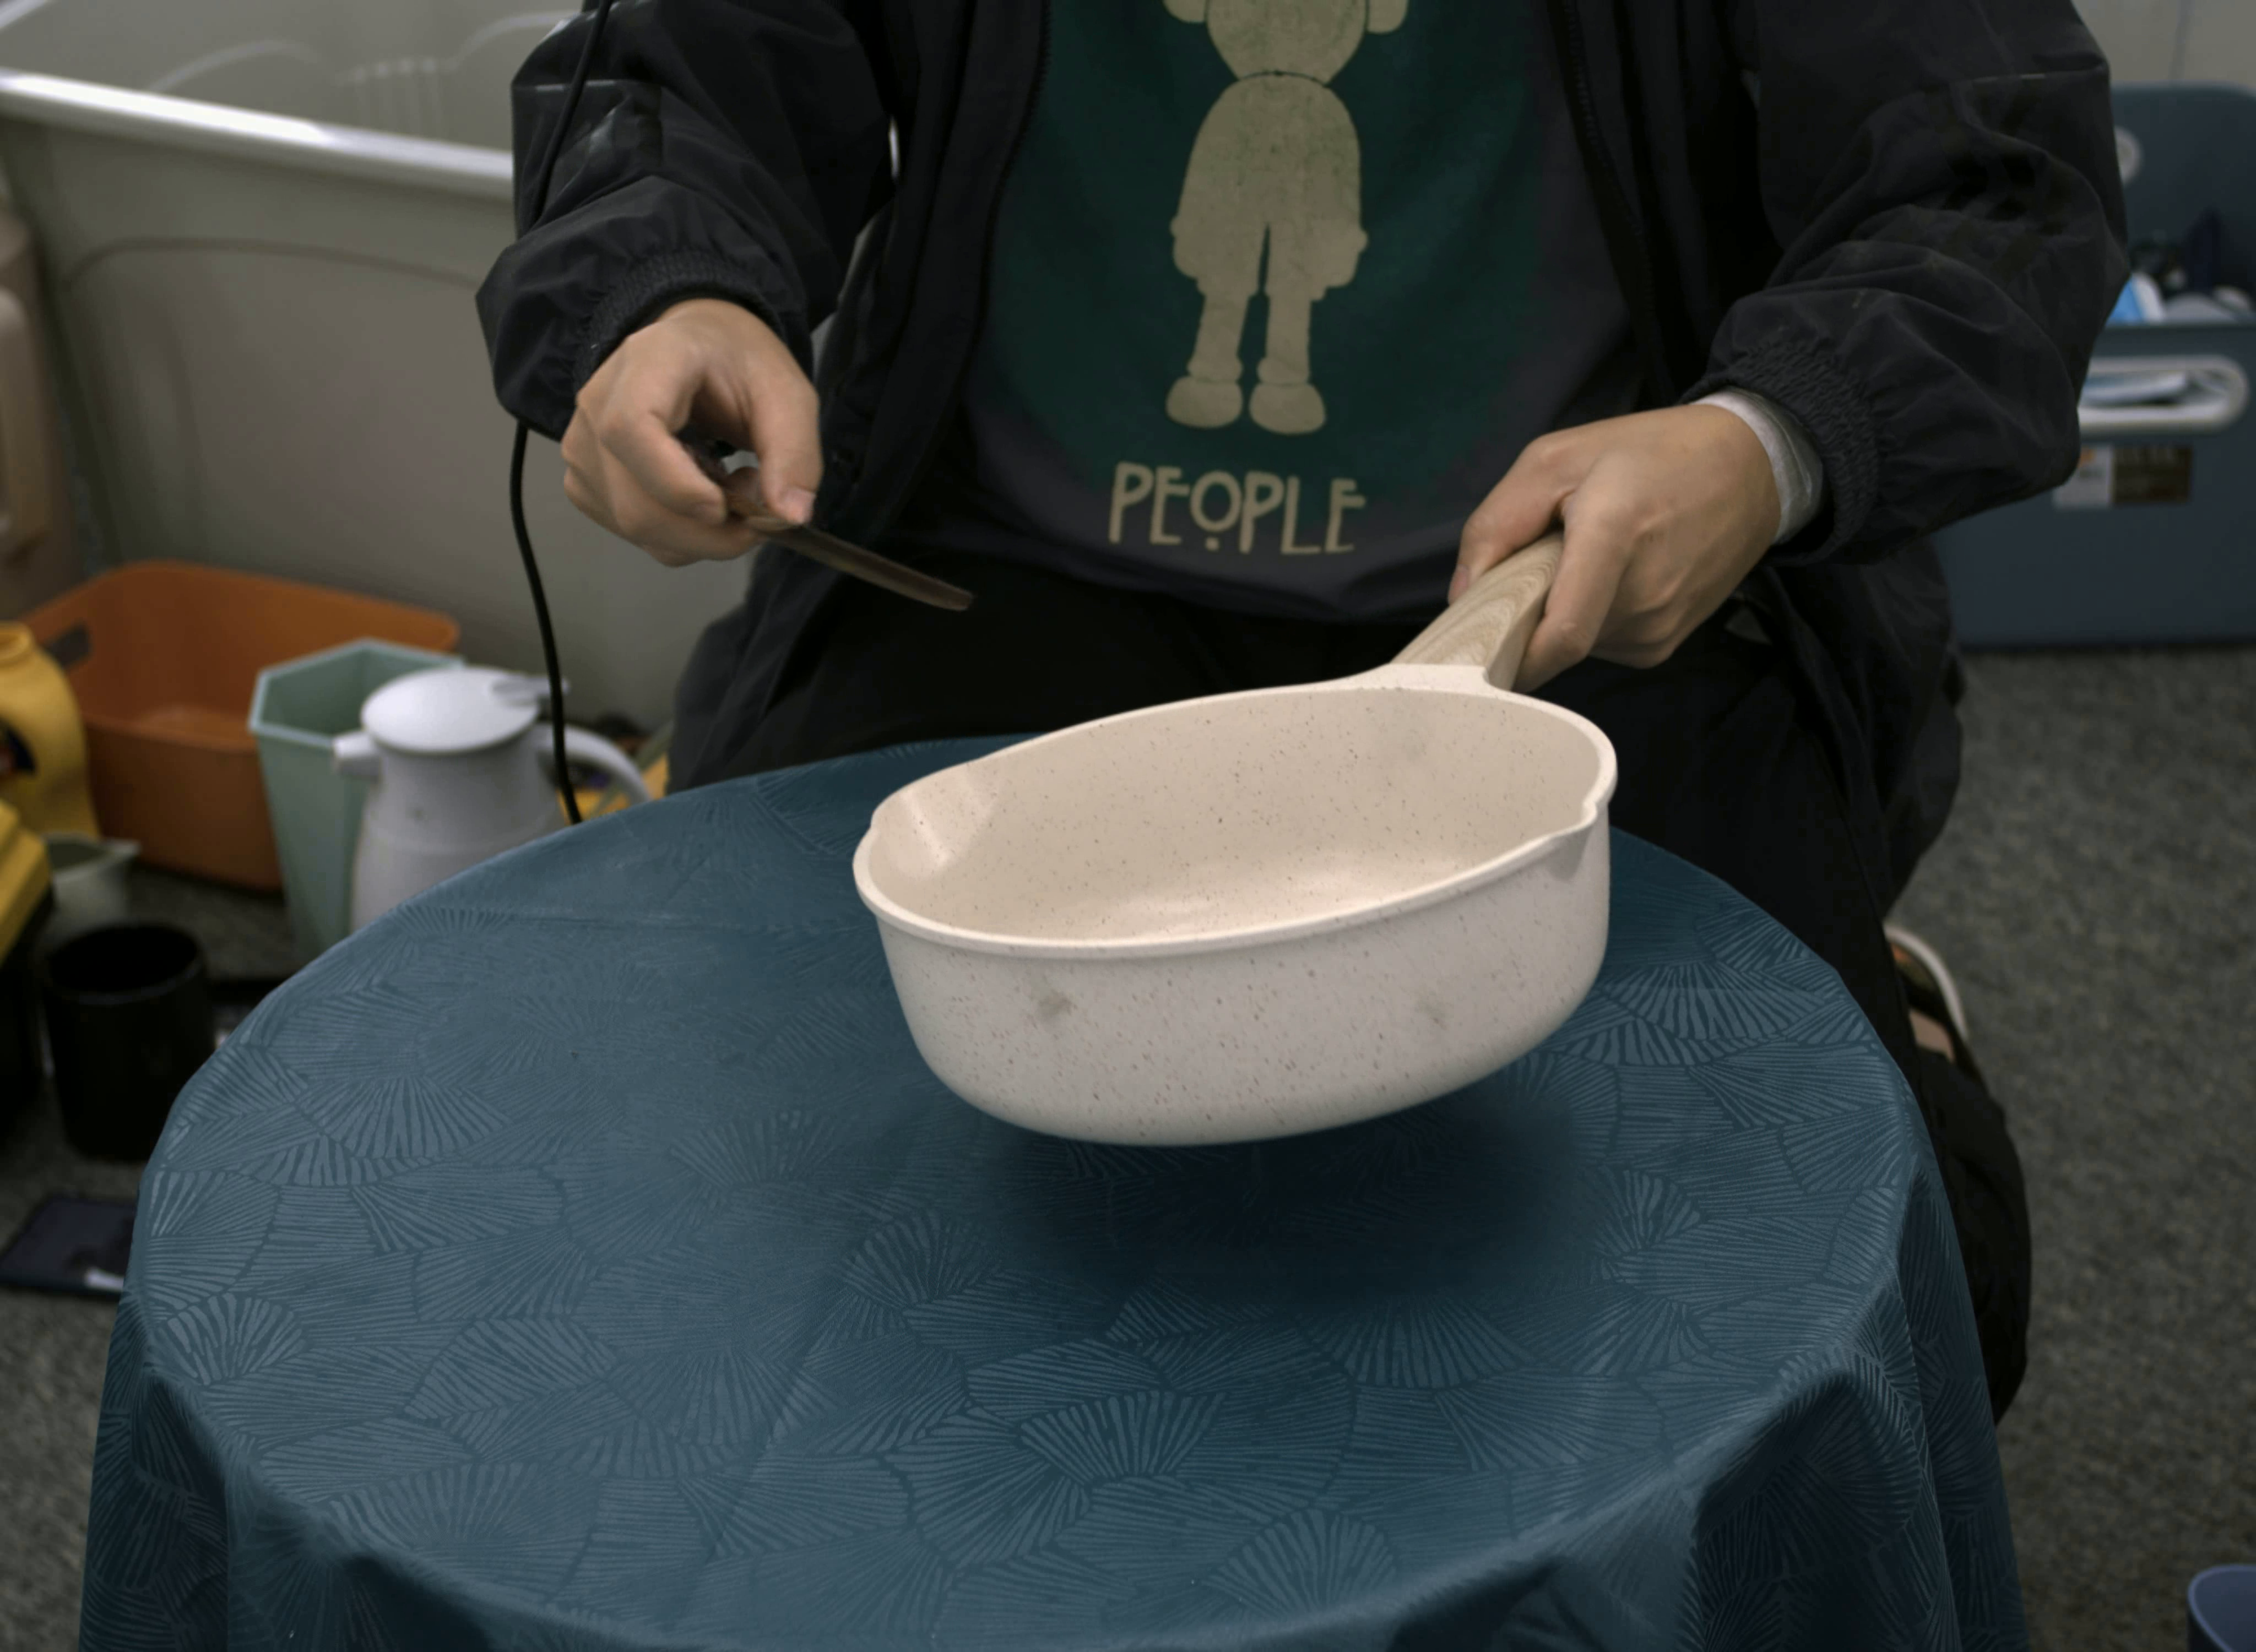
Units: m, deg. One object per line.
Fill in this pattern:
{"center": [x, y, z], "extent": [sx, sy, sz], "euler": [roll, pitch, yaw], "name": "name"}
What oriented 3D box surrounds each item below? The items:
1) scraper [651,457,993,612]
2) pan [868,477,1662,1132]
{"center": [-0.115, -0.103, 1.900], "extent": [0.075, 0.011, 0.211], "euler": [24, 1, -28], "name": "scraper"}
{"center": [0.089, -0.009, 1.910], "extent": [0.261, 0.101, 0.441], "euler": [0, 19, 31], "name": "pan"}
